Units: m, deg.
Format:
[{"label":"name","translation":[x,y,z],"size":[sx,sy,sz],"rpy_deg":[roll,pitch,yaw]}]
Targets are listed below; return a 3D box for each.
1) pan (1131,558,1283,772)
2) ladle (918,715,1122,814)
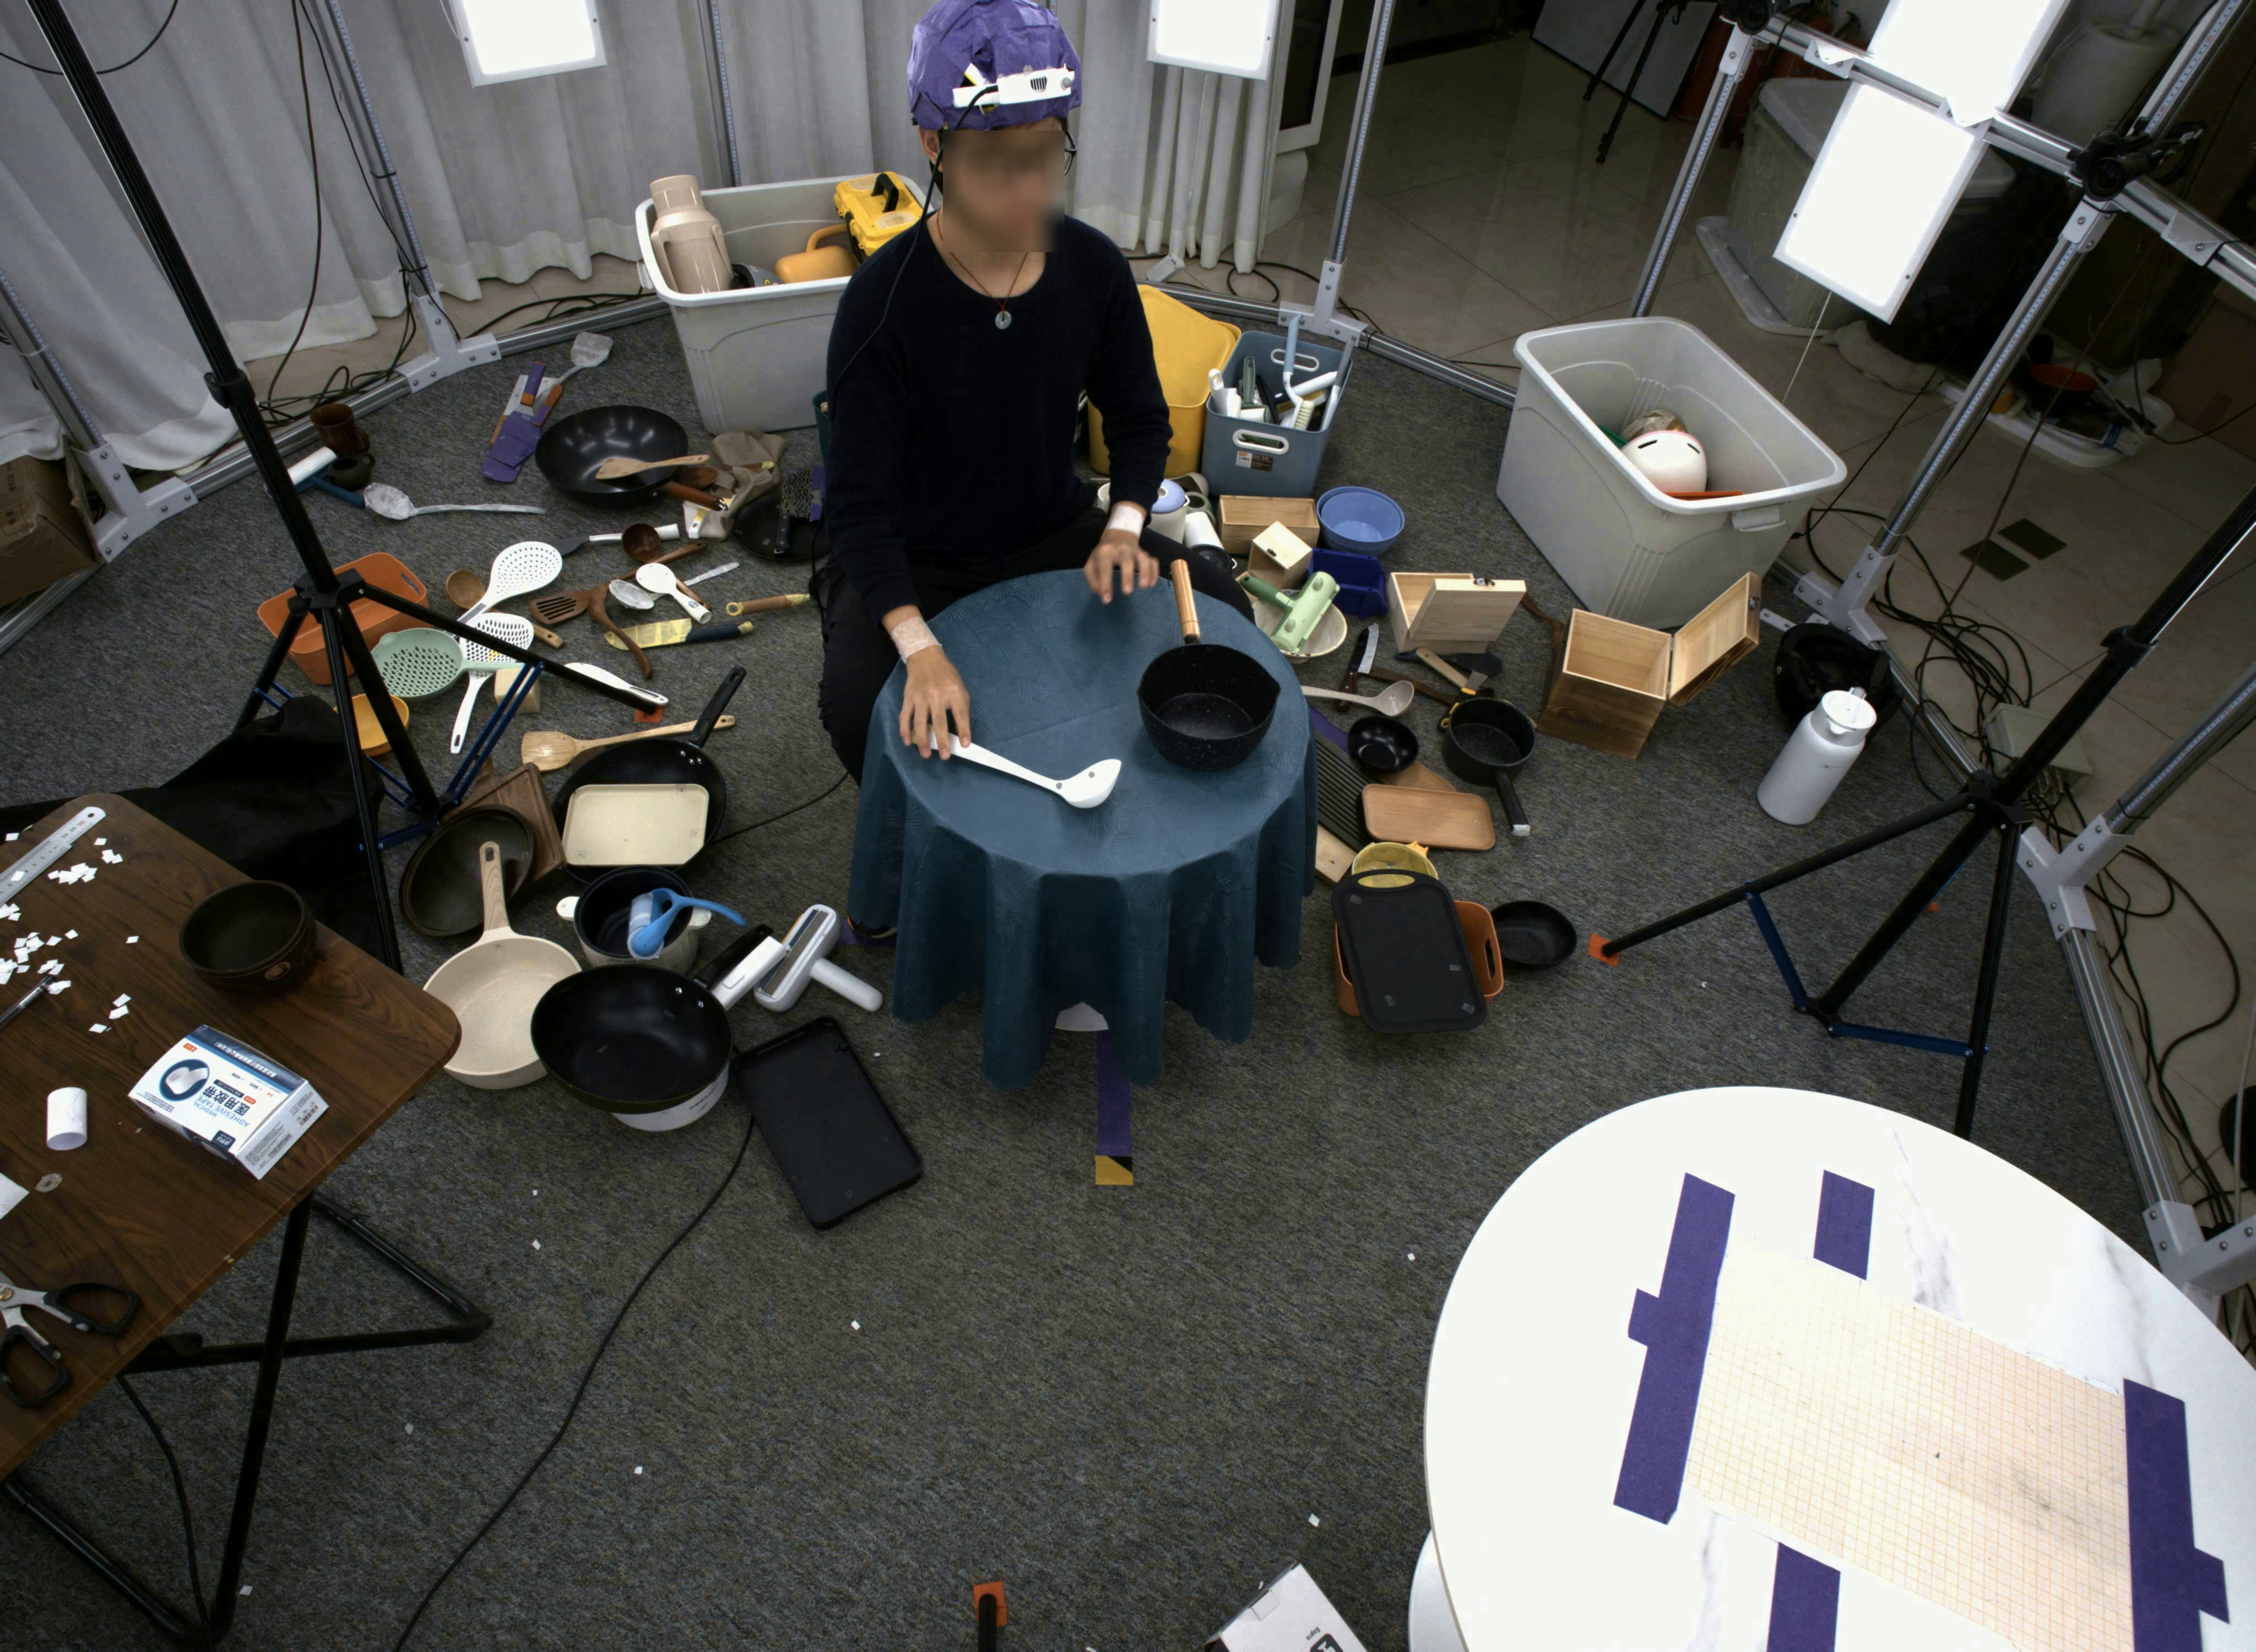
[{"label":"pan","translation":[0.094,-0.226,1.802],"size":[0.207,0.105,0.351],"rpy_deg":[-6,51,-8]},{"label":"ladle","translation":[-0.147,-0.091,1.698],"size":[0.295,0.068,0.091],"rpy_deg":[24,49,15]}]
